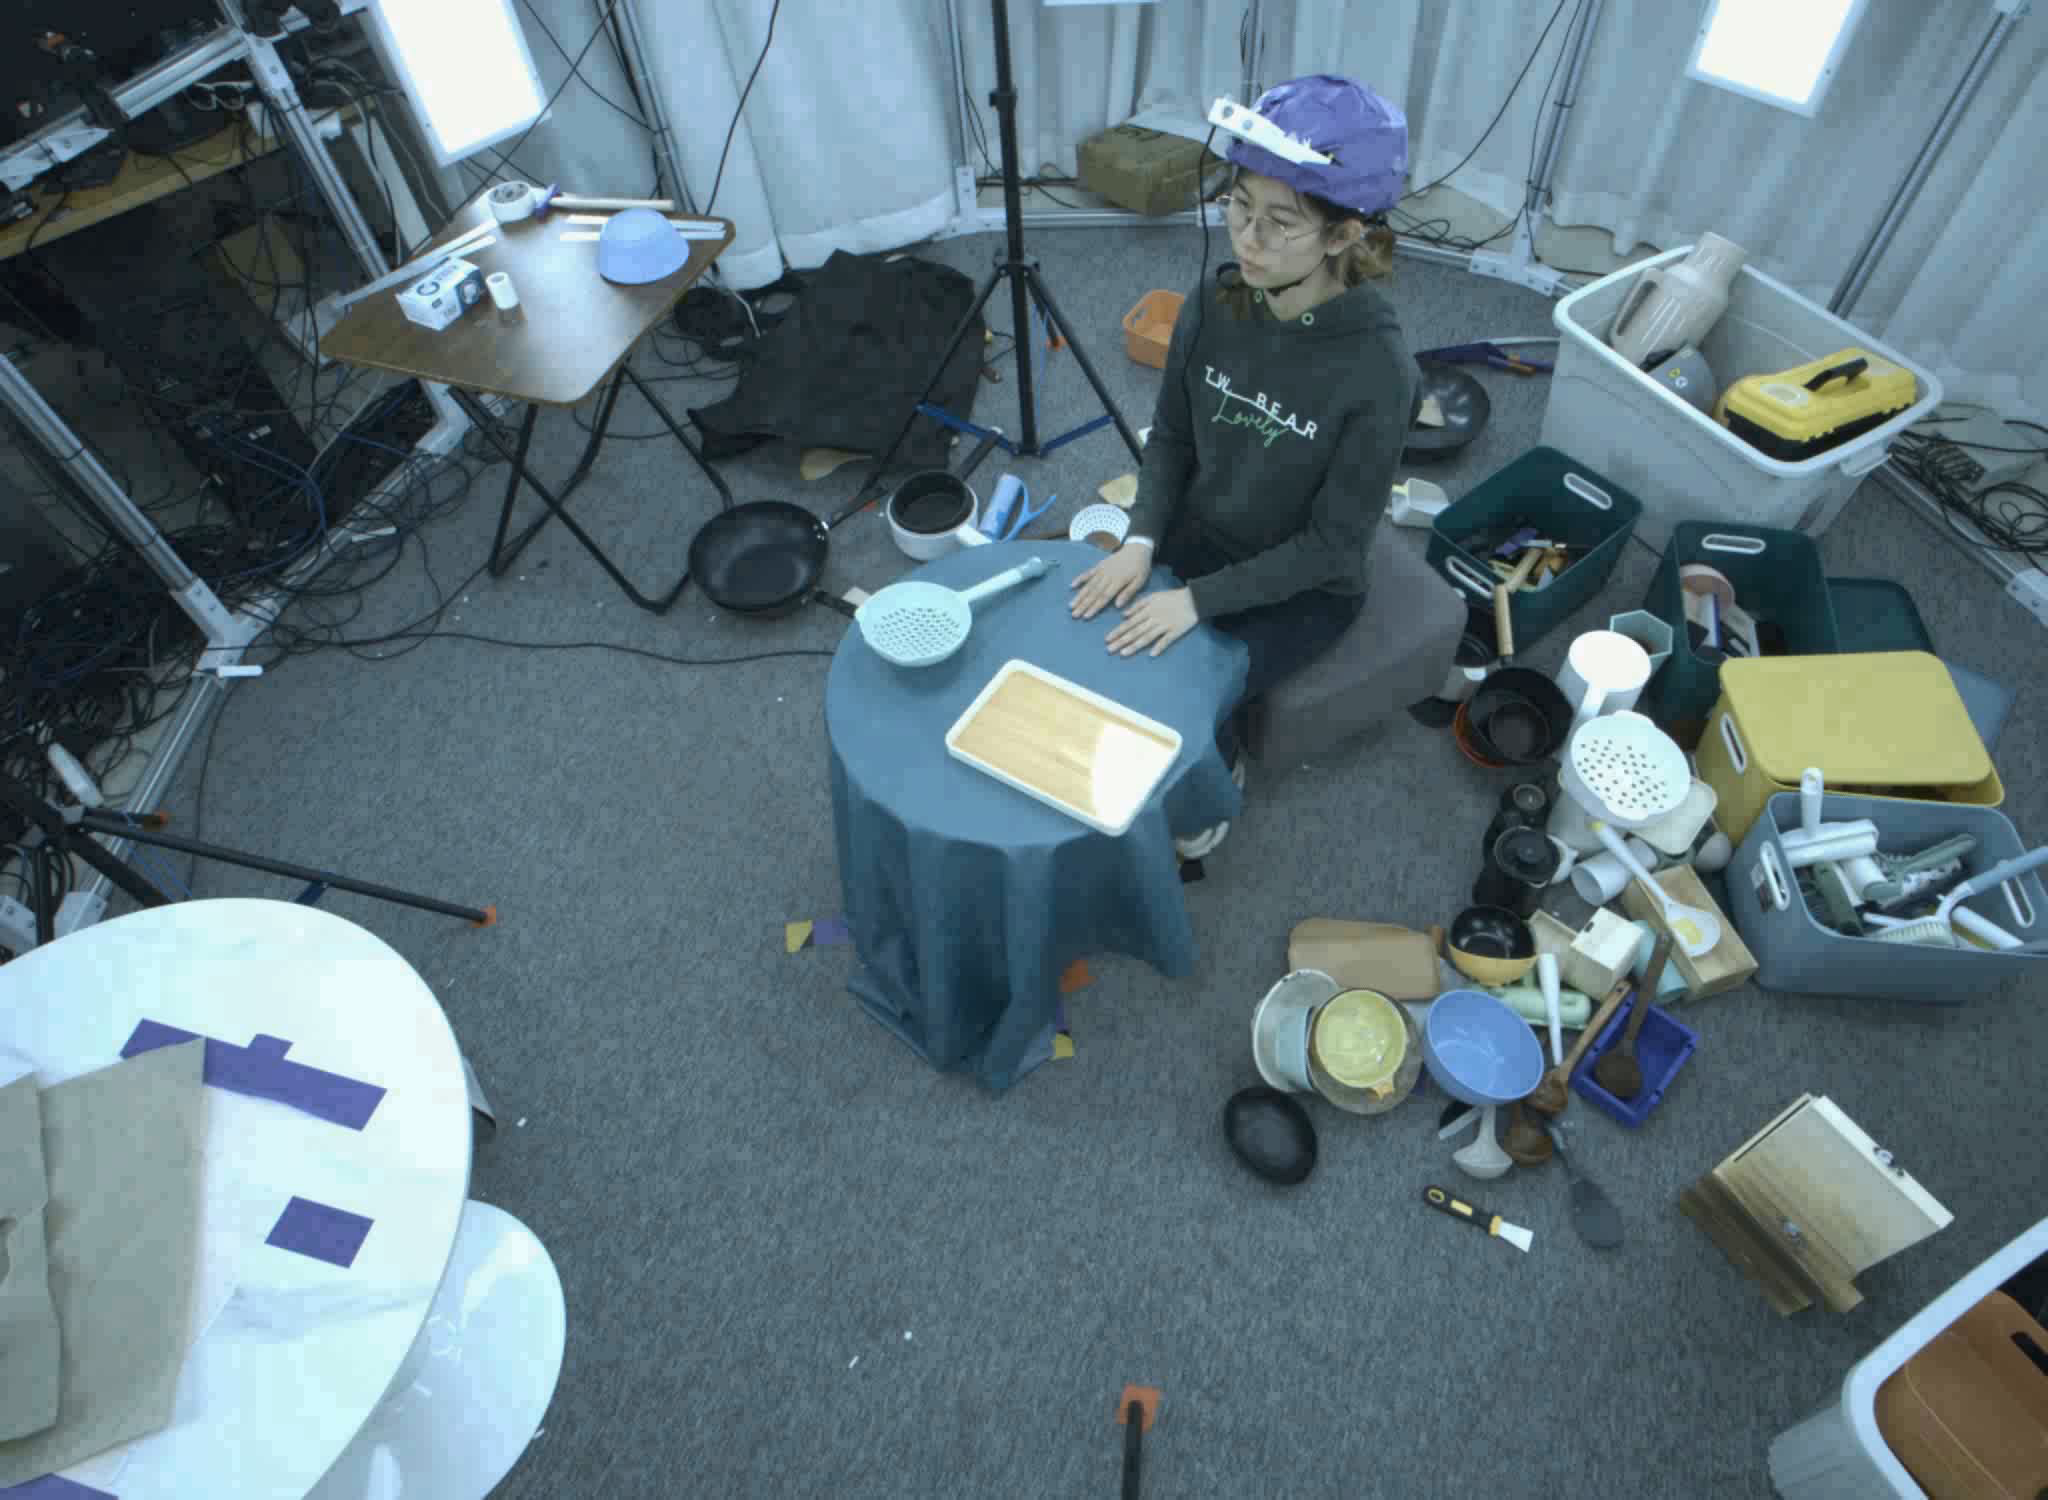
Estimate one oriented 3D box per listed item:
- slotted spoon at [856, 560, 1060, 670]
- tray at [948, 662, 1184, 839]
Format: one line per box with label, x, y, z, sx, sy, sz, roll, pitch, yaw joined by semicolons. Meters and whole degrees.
slotted spoon;-0.088;-0.230;1.922;0.361;0.076;0.166;-34;61;-20
tray;0.060;-0.004;1.783;0.296;0.028;0.192;27;60;19
